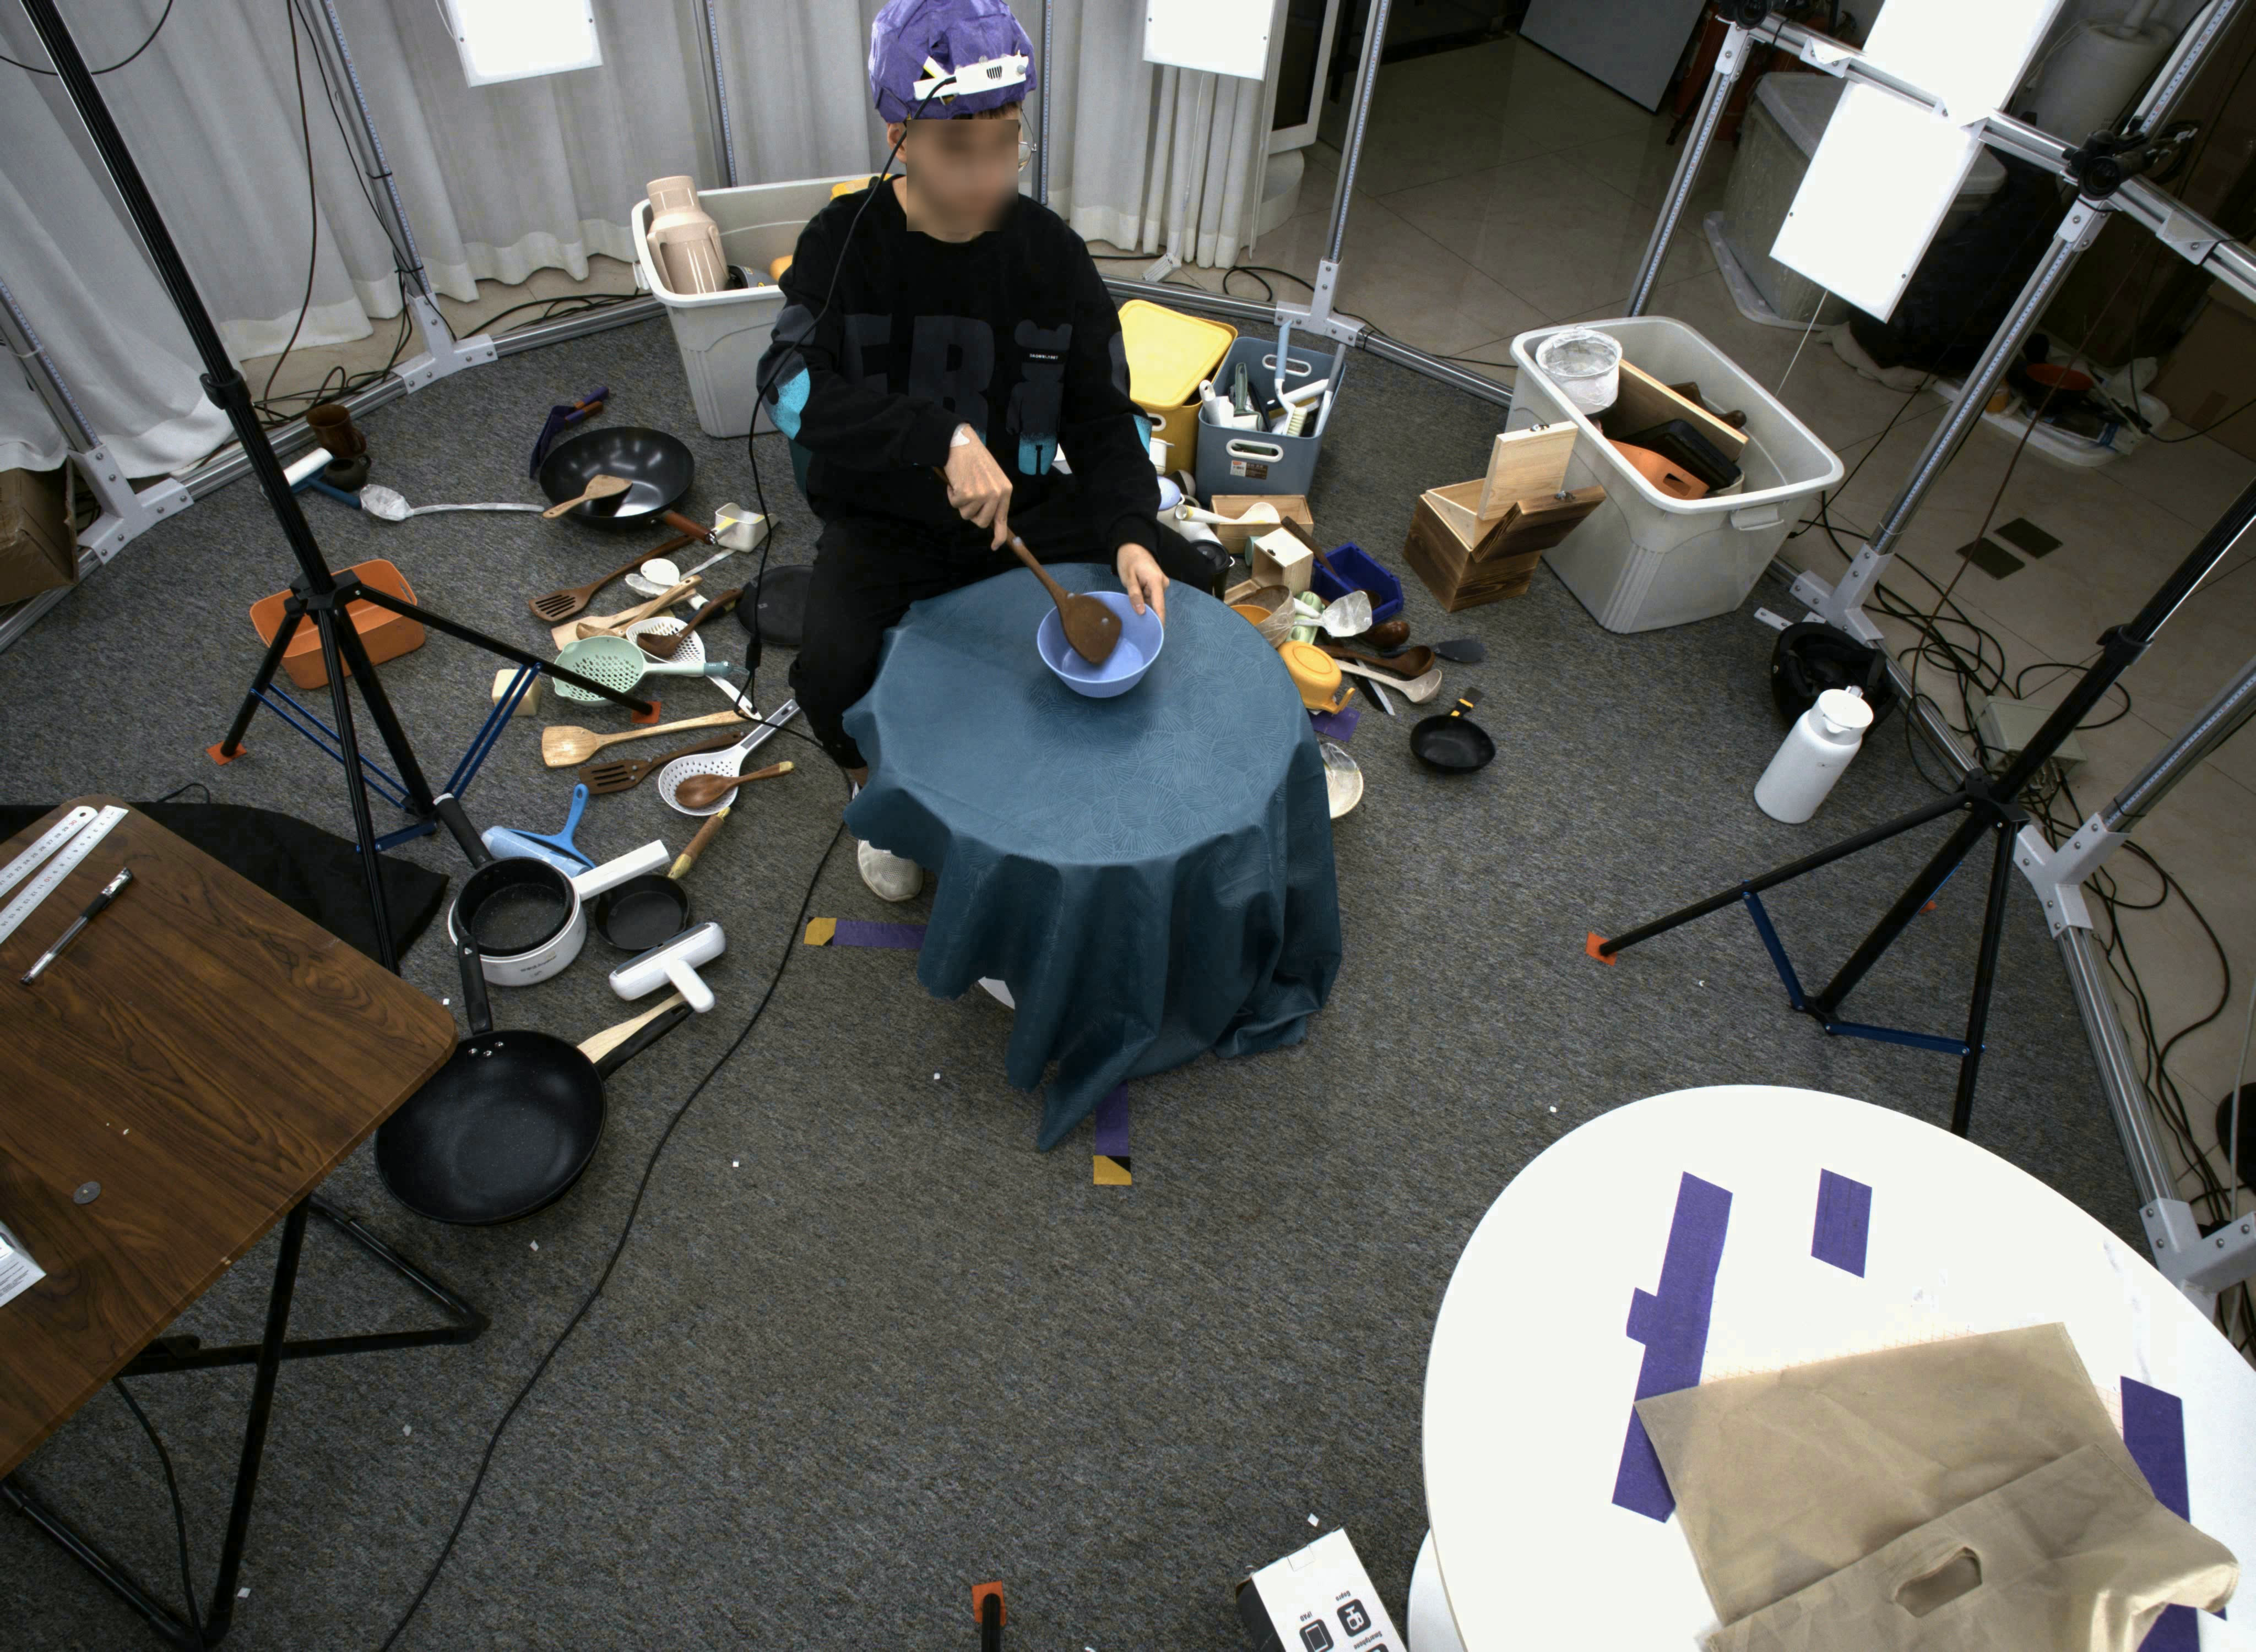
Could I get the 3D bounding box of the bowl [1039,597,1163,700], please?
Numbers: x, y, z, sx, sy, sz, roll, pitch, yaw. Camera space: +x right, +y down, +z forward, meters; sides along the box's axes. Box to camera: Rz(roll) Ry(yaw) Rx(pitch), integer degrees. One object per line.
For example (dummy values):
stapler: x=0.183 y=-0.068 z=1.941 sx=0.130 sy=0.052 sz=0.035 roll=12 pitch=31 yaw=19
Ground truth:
bowl: x=-0.036 y=-0.244 z=1.830 sx=0.176 sy=0.068 sz=0.180 roll=-2 pitch=51 yaw=2

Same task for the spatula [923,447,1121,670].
spatula: x=-0.143 y=-0.369 z=1.770 sx=0.016 sy=0.379 sz=0.098 roll=-13 pitch=39 yaw=47
